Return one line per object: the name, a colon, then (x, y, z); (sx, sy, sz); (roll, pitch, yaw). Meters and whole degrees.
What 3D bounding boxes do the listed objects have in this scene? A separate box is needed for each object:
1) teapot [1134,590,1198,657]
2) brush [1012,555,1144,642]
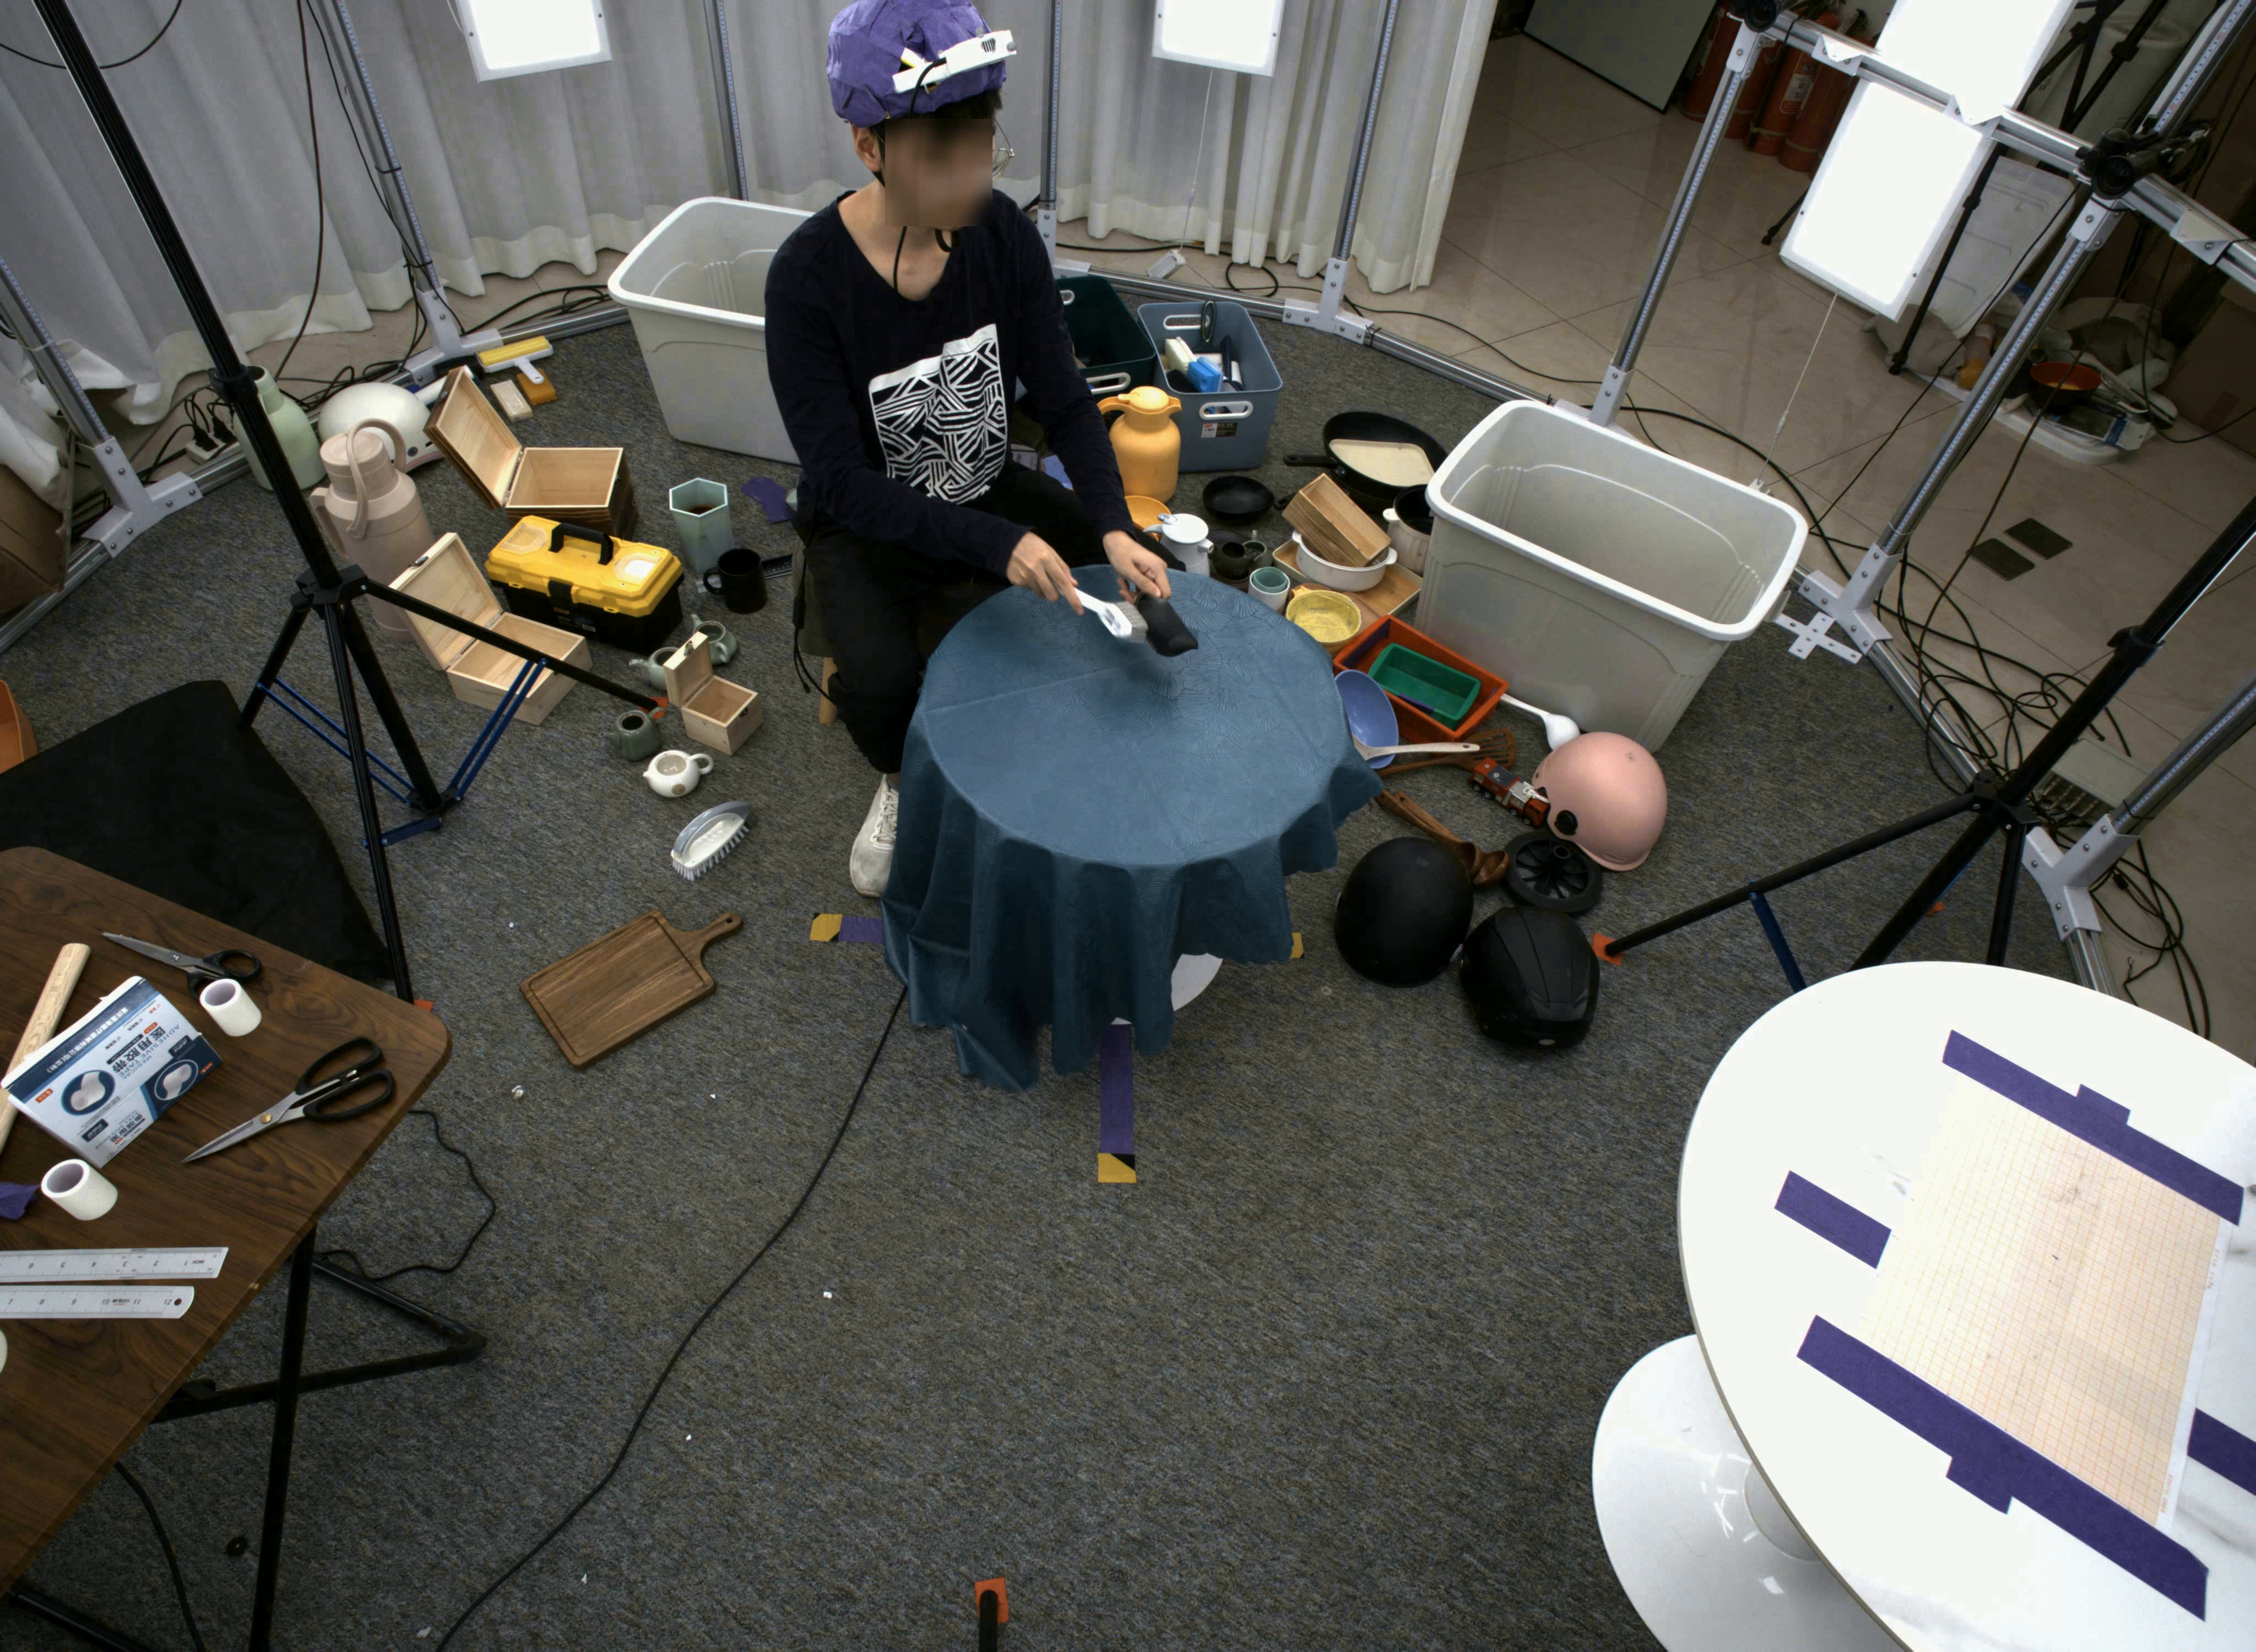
teapot: (0.047, -0.282, 1.813); (0.053, 0.089, 0.136); (-33, 58, 0)
brush: (-0.070, -0.332, 1.835); (0.050, 0.033, 0.247); (-31, 53, -34)
